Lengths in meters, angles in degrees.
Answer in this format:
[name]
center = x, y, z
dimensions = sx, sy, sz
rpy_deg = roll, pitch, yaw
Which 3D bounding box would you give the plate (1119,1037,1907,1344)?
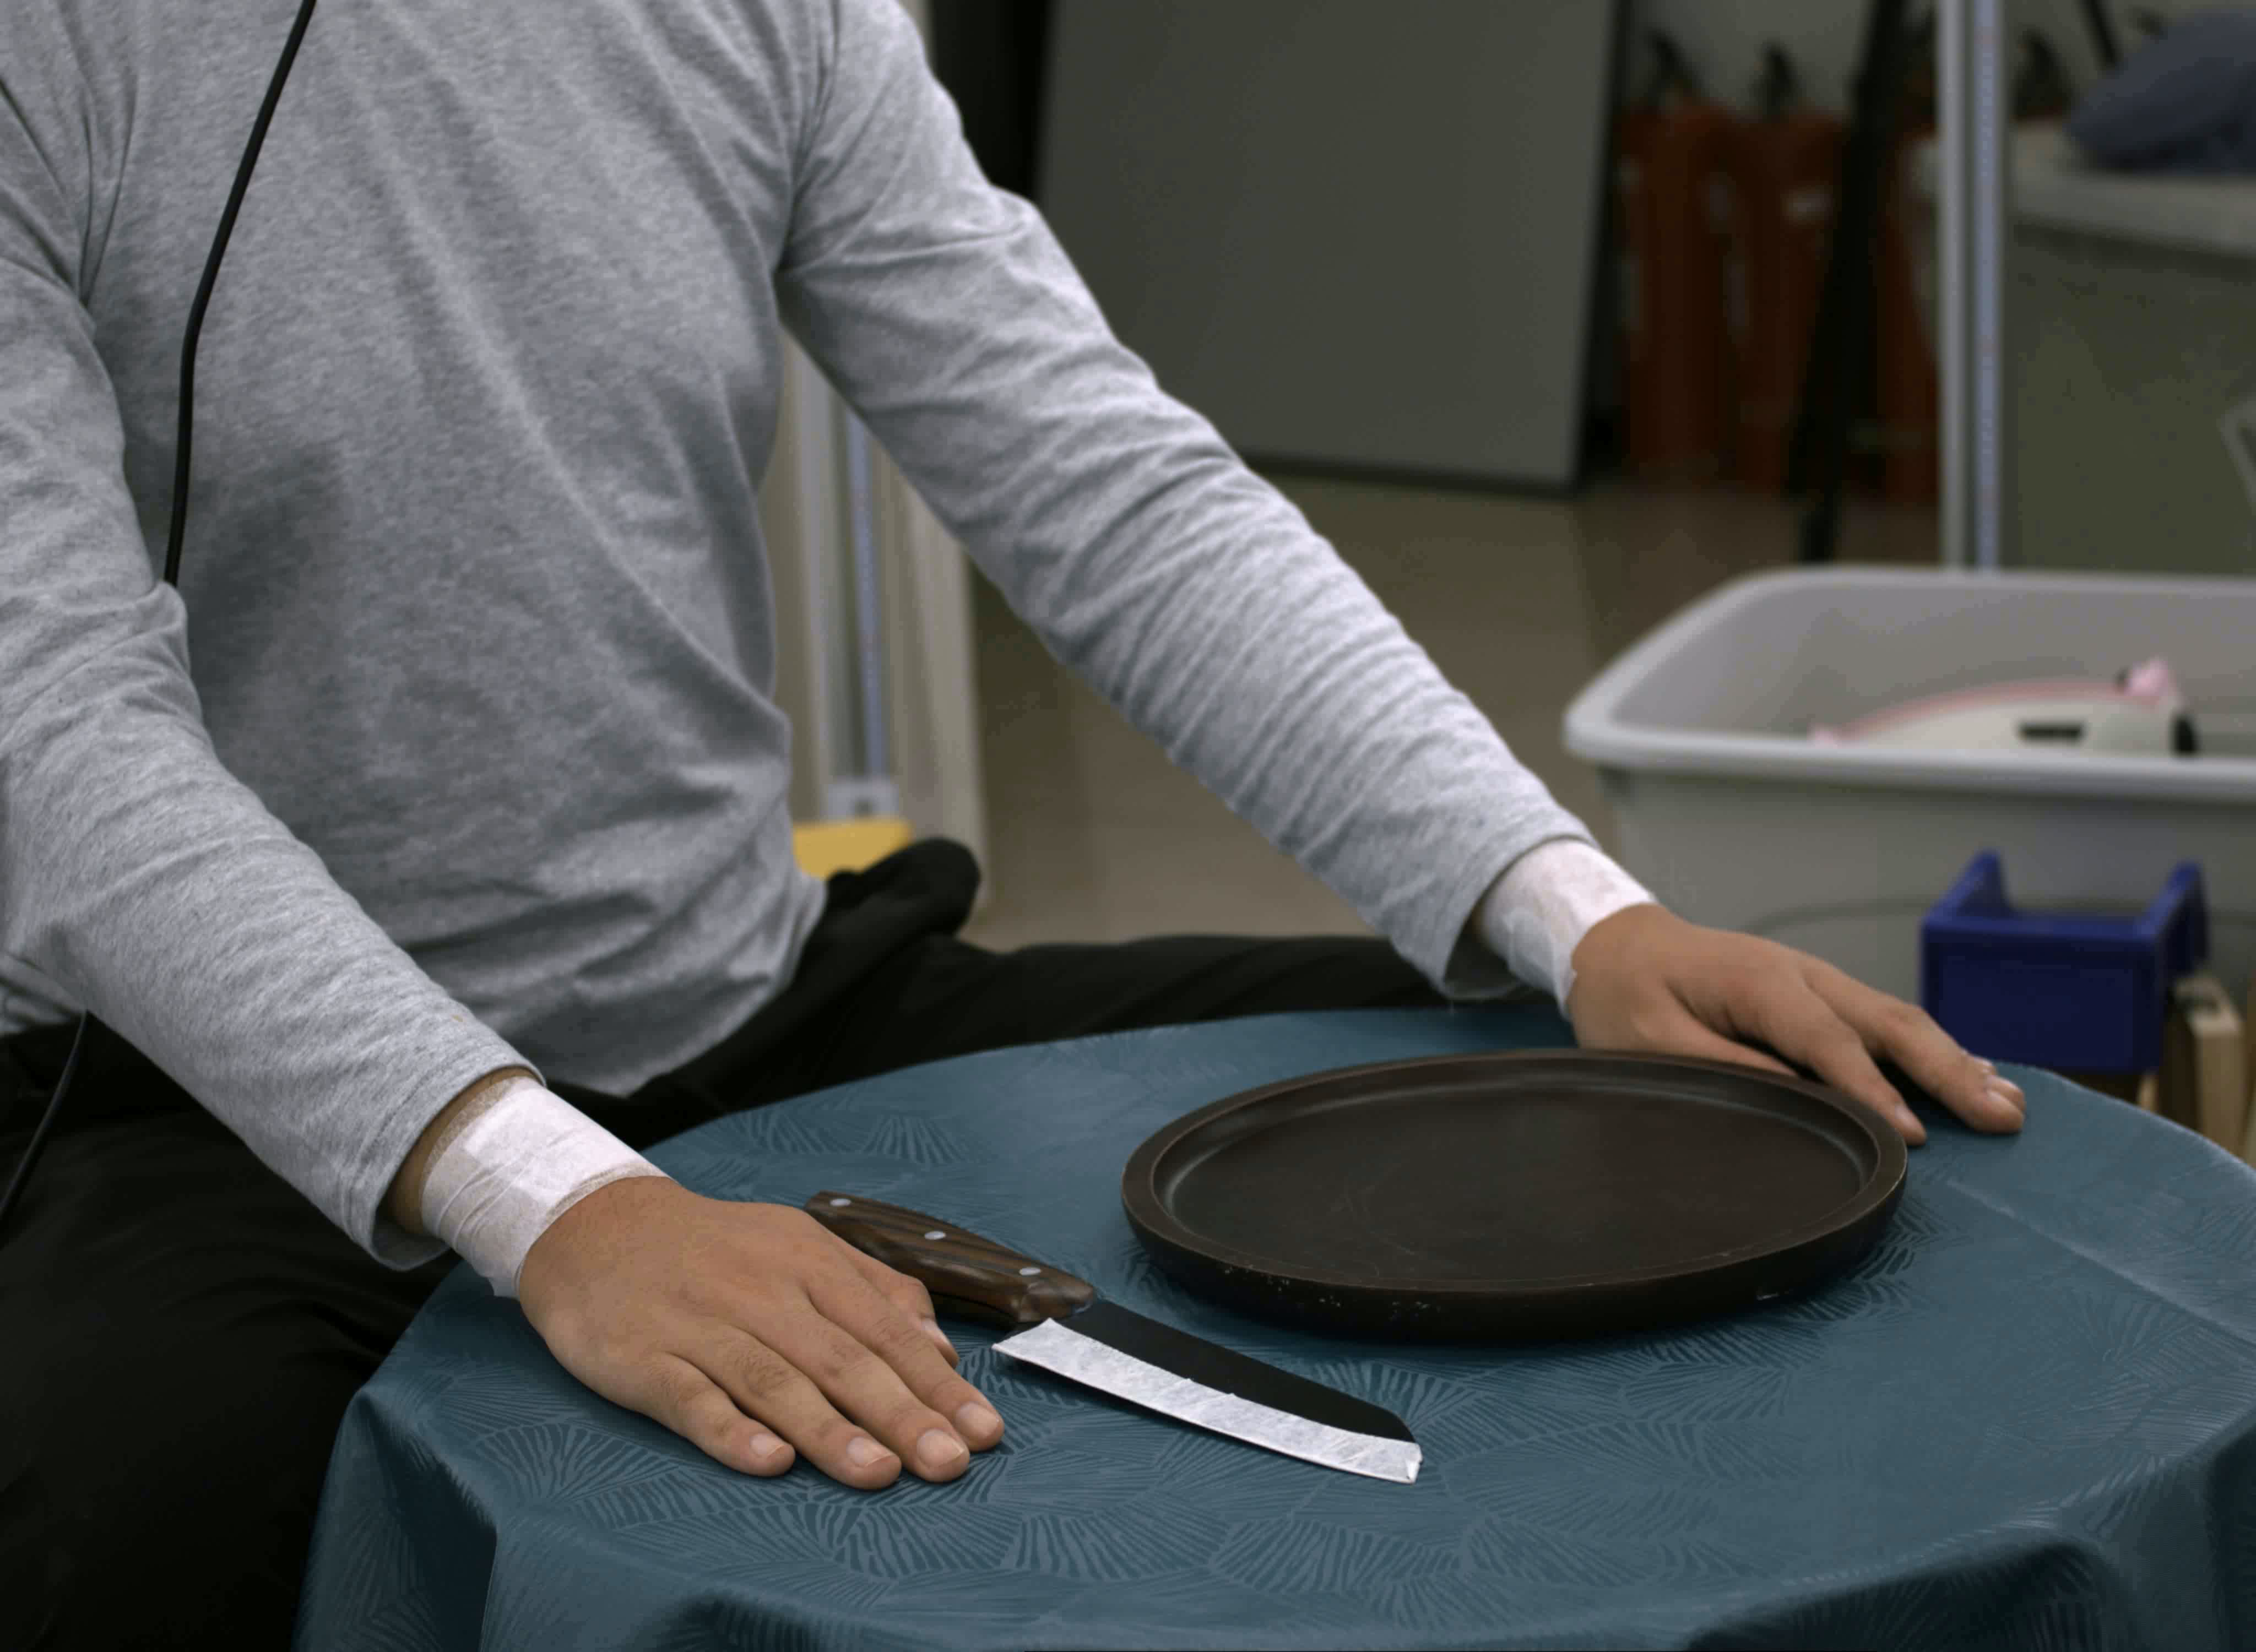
[plate]
center = 0.122, 0.116, 1.709
dimensions = 0.251, 0.029, 0.255
rpy_deg = -6, 14, 1

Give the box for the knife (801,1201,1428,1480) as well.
[knife]
center = -0.008, 0.154, 1.610
dimensions = 0.049, 0.020, 0.292
rpy_deg = -20, 22, -35
